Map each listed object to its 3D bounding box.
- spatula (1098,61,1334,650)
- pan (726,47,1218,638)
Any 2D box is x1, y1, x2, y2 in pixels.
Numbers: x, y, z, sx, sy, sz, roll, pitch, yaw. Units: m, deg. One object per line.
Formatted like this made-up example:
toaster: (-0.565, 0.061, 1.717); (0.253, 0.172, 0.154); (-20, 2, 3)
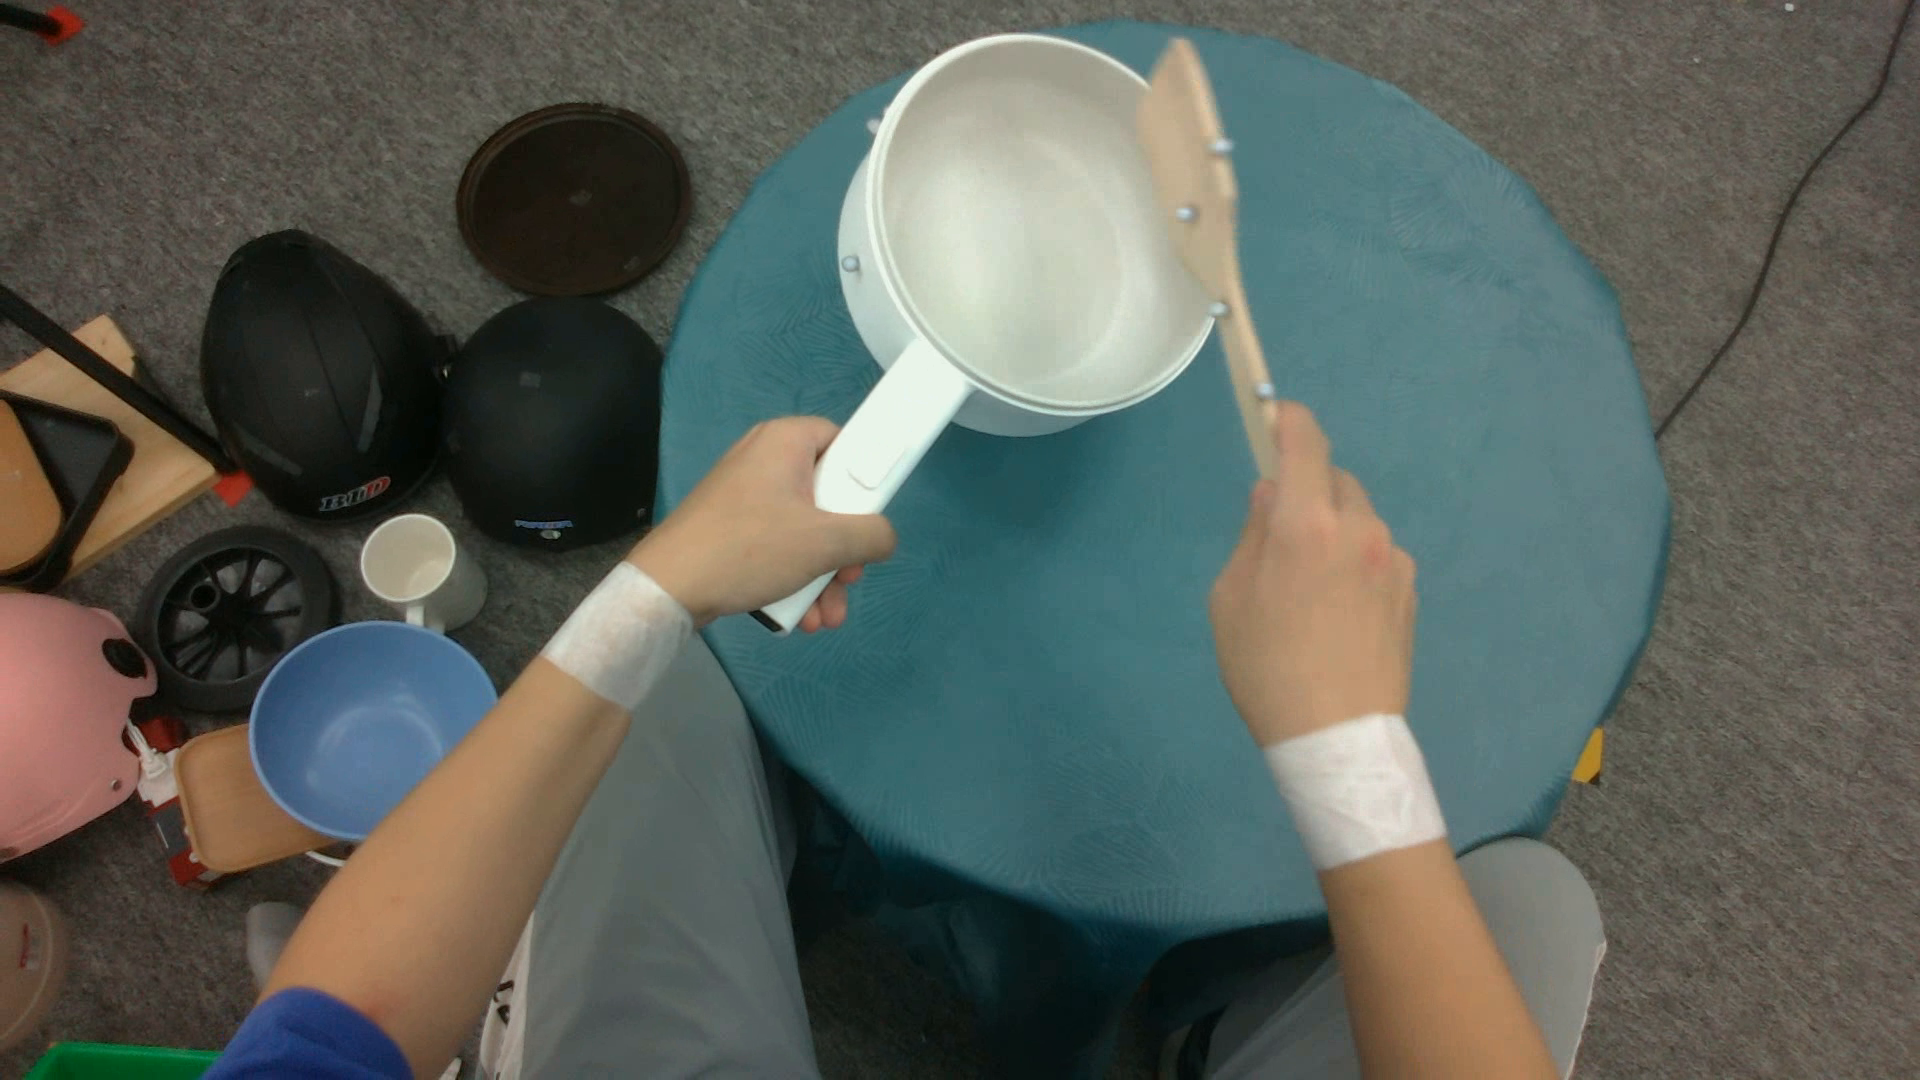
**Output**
spatula: (0.119, -0.087, 0.645); (0.010, 0.072, 0.293); (-17, 75, -5)
pan: (-0.009, -0.097, 0.737); (0.201, 0.102, 0.356); (39, 71, -13)
